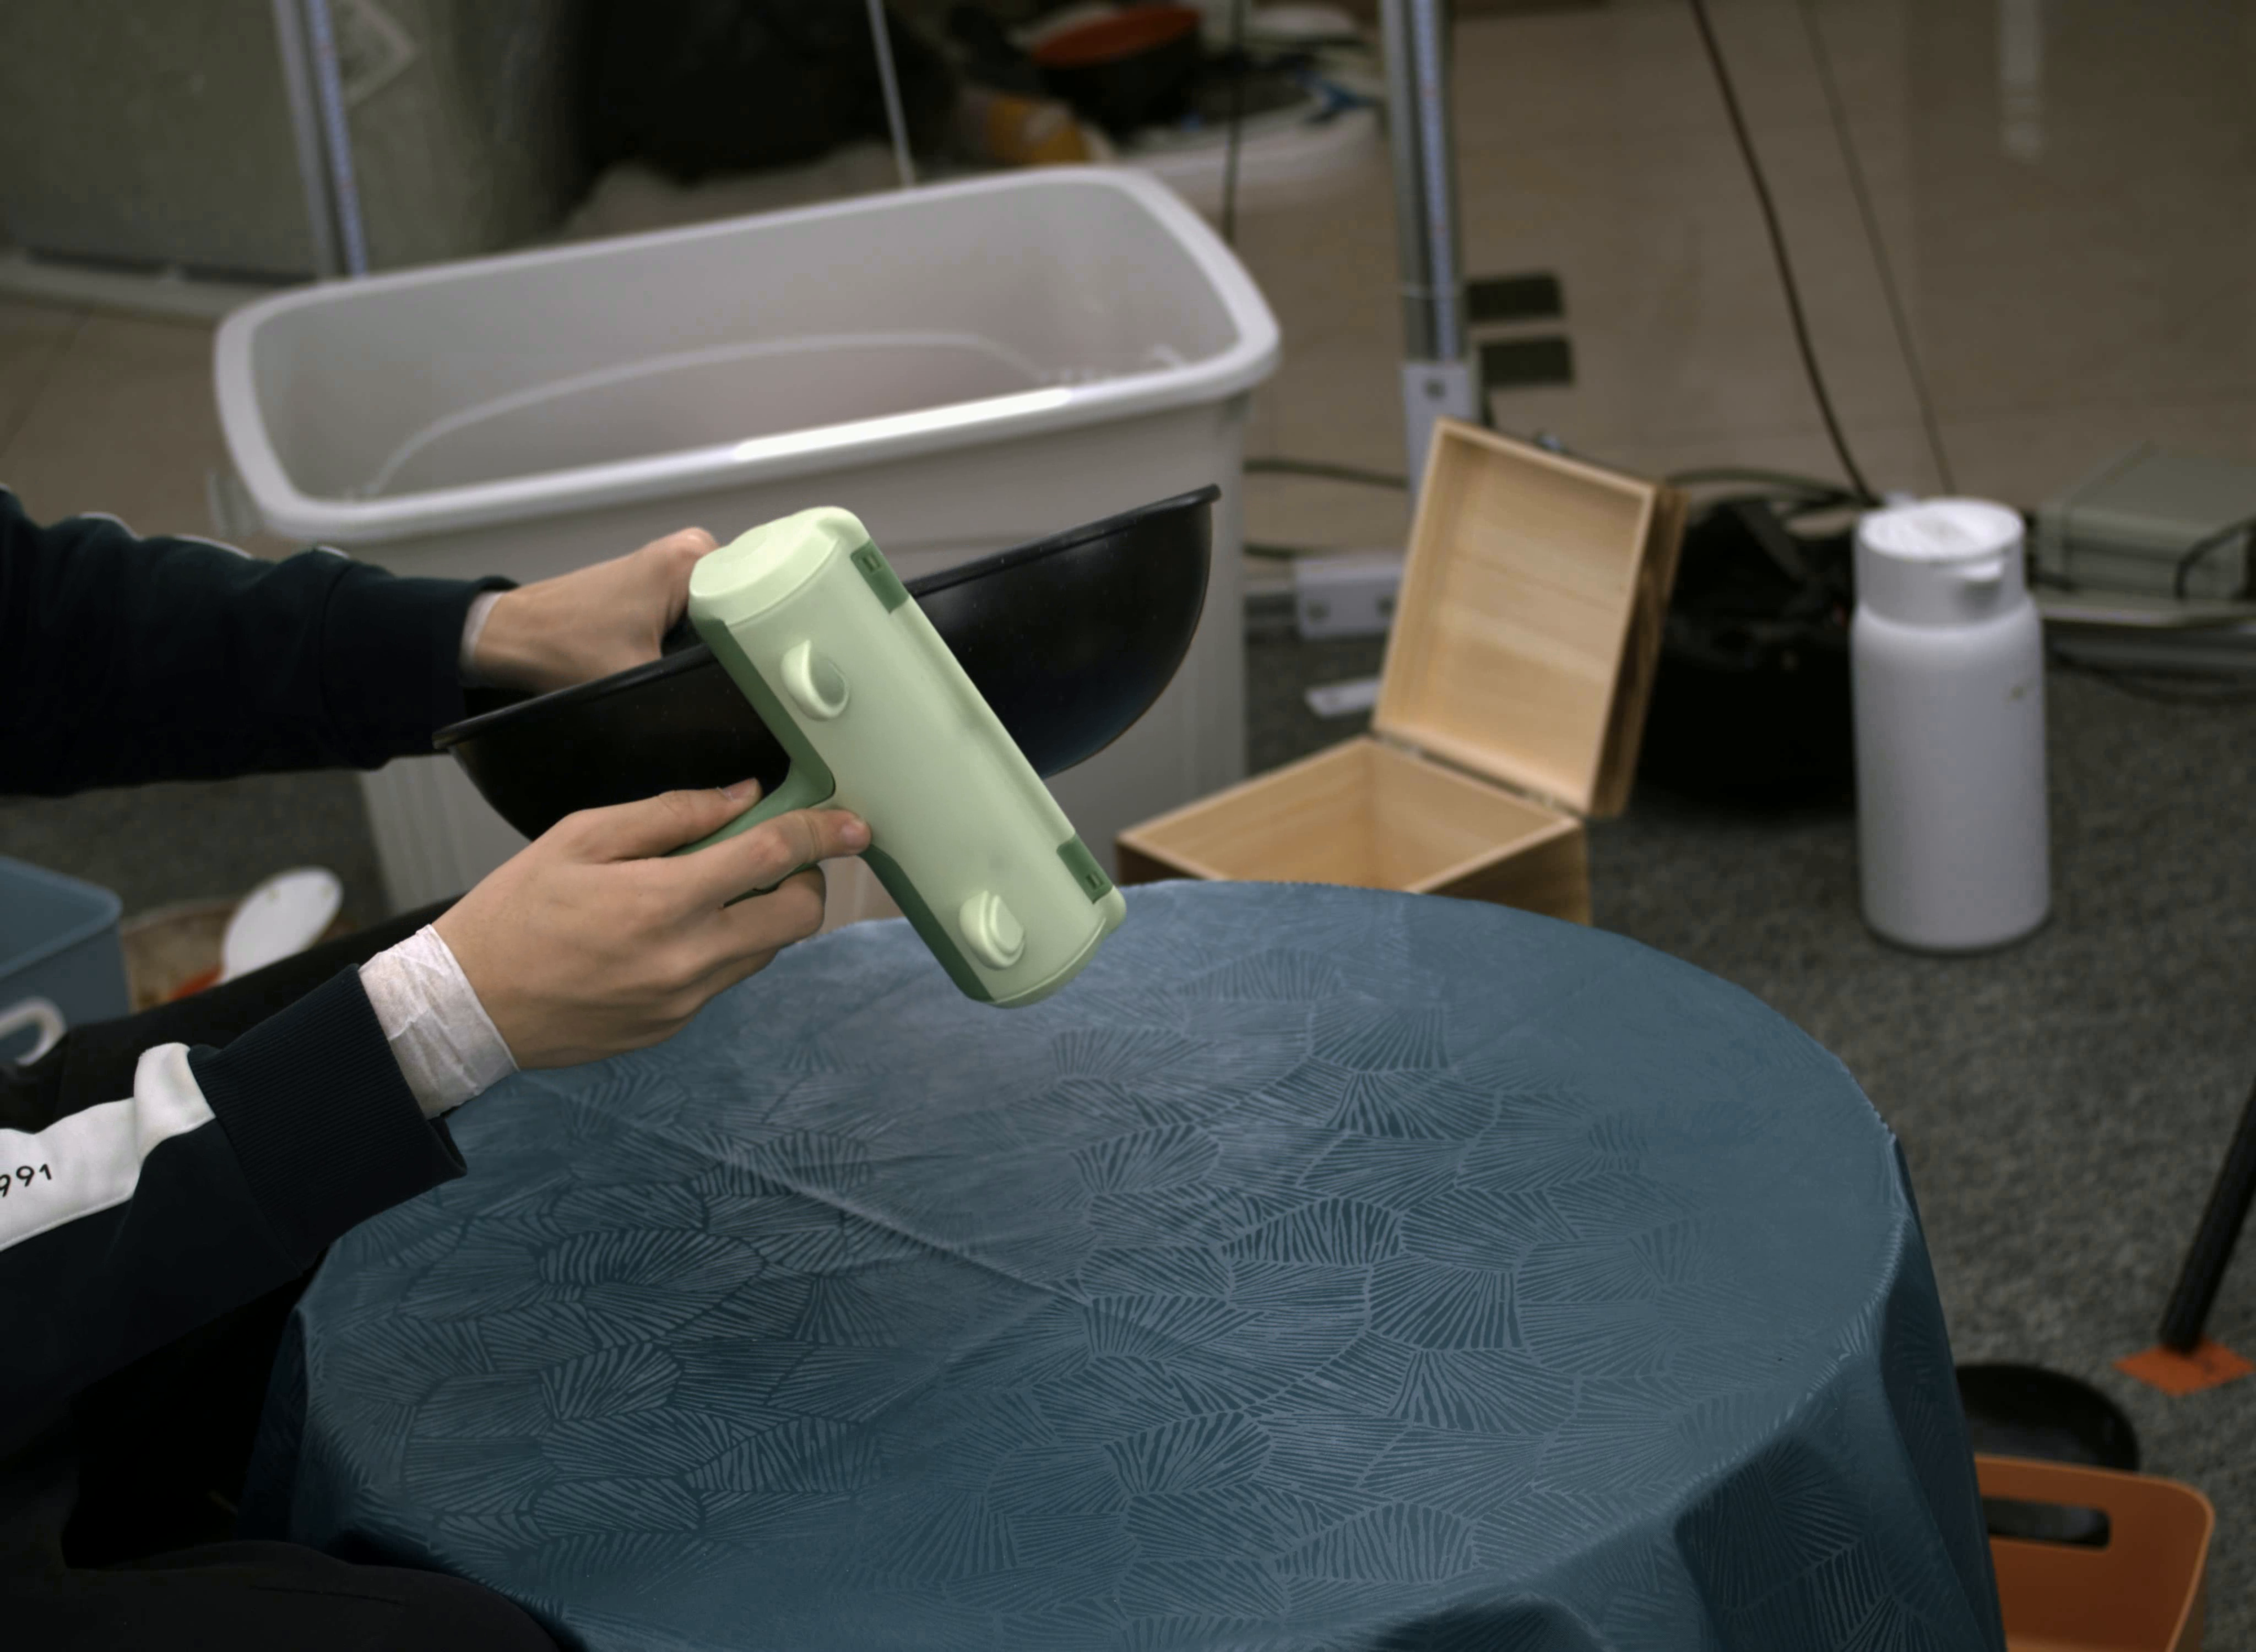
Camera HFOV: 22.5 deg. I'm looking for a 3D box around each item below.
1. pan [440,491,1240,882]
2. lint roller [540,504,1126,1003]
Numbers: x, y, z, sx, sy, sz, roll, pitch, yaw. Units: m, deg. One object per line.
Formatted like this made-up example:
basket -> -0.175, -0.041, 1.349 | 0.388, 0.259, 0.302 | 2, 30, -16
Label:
pan -> -0.128, -0.048, 2.184 | 0.309, 0.112, 0.477 | -18, 3, -20
lint roller -> -0.121, 0.012, 1.950 | 0.183, 0.201, 0.081 | -36, 28, -1
